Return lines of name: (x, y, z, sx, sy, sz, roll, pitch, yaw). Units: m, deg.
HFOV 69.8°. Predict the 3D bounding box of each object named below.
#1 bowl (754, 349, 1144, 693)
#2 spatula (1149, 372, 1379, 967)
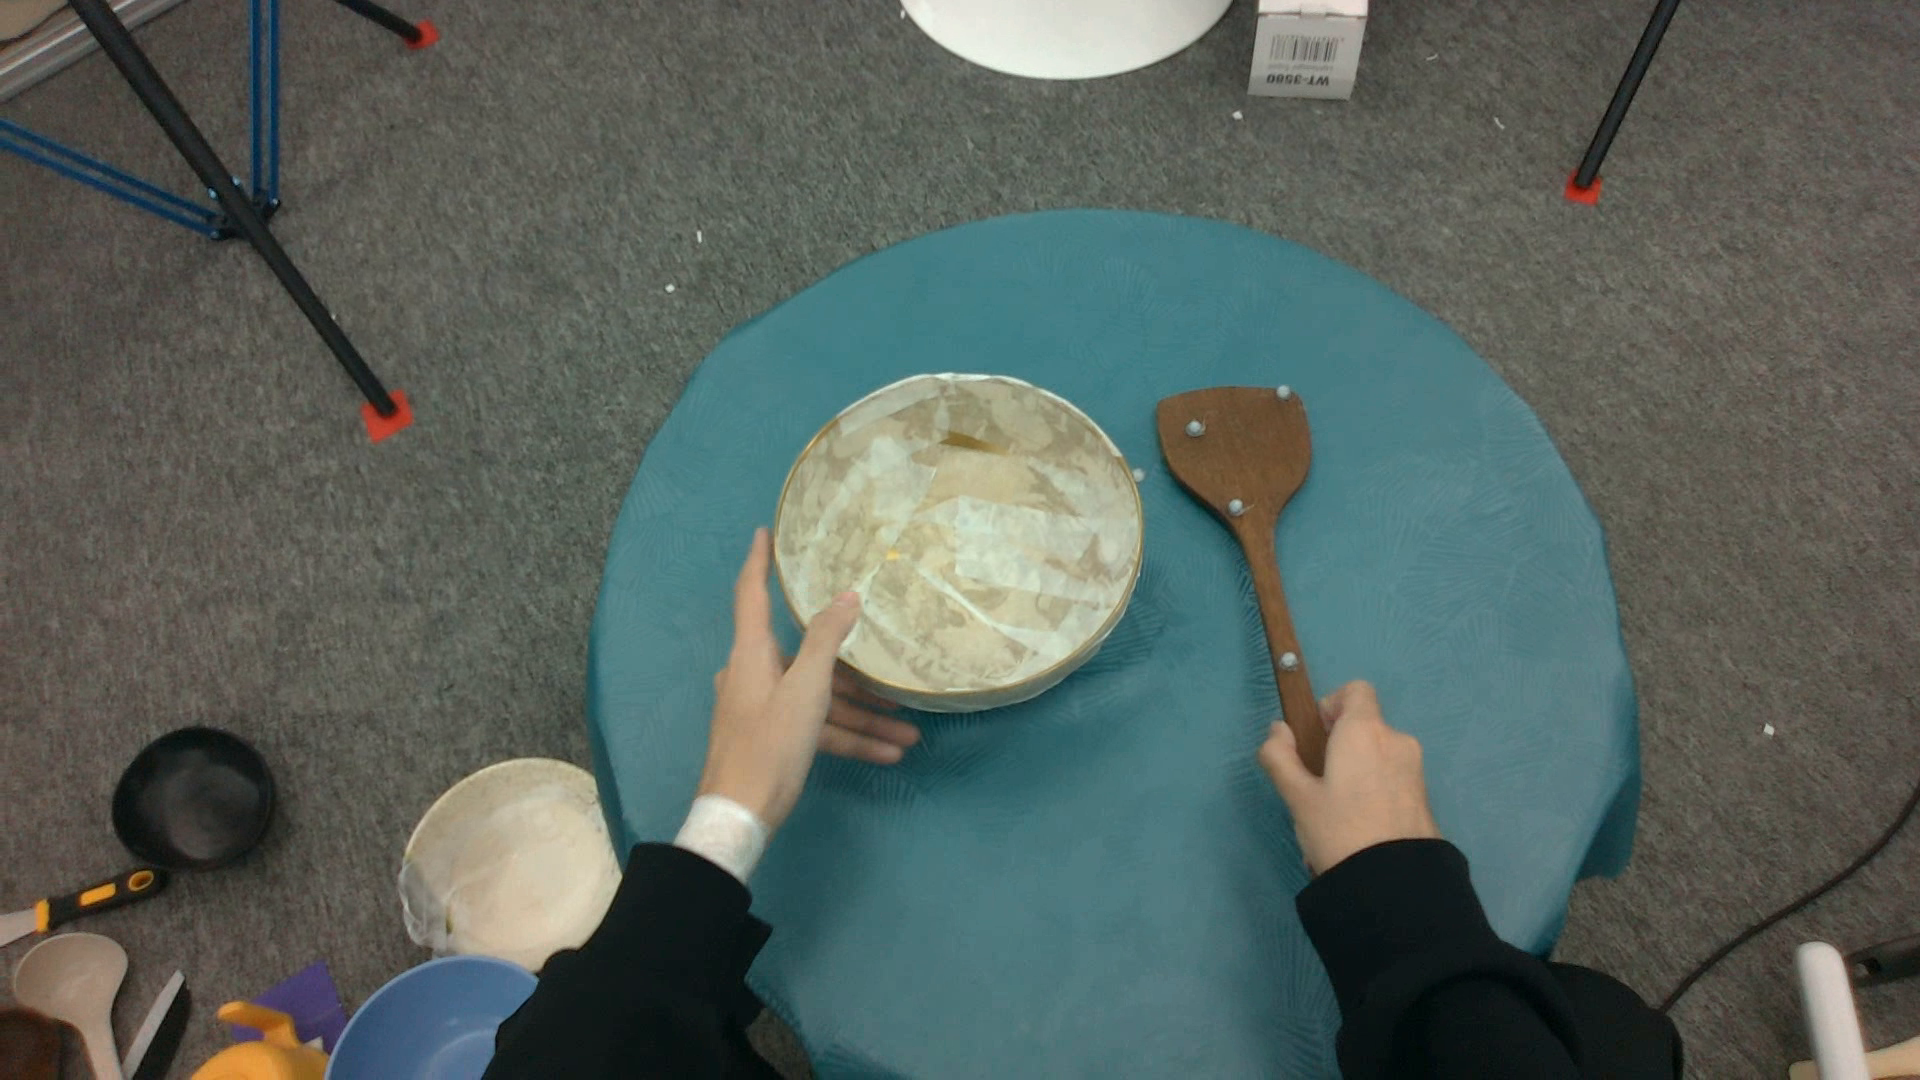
bowl: (-0.007, 0.003, 0.771, 0.215, 0.094, 0.215, 0, 61, 0)
spatula: (0.175, 0.046, 0.762, 0.096, 0.016, 0.387, -3, 51, -2)
